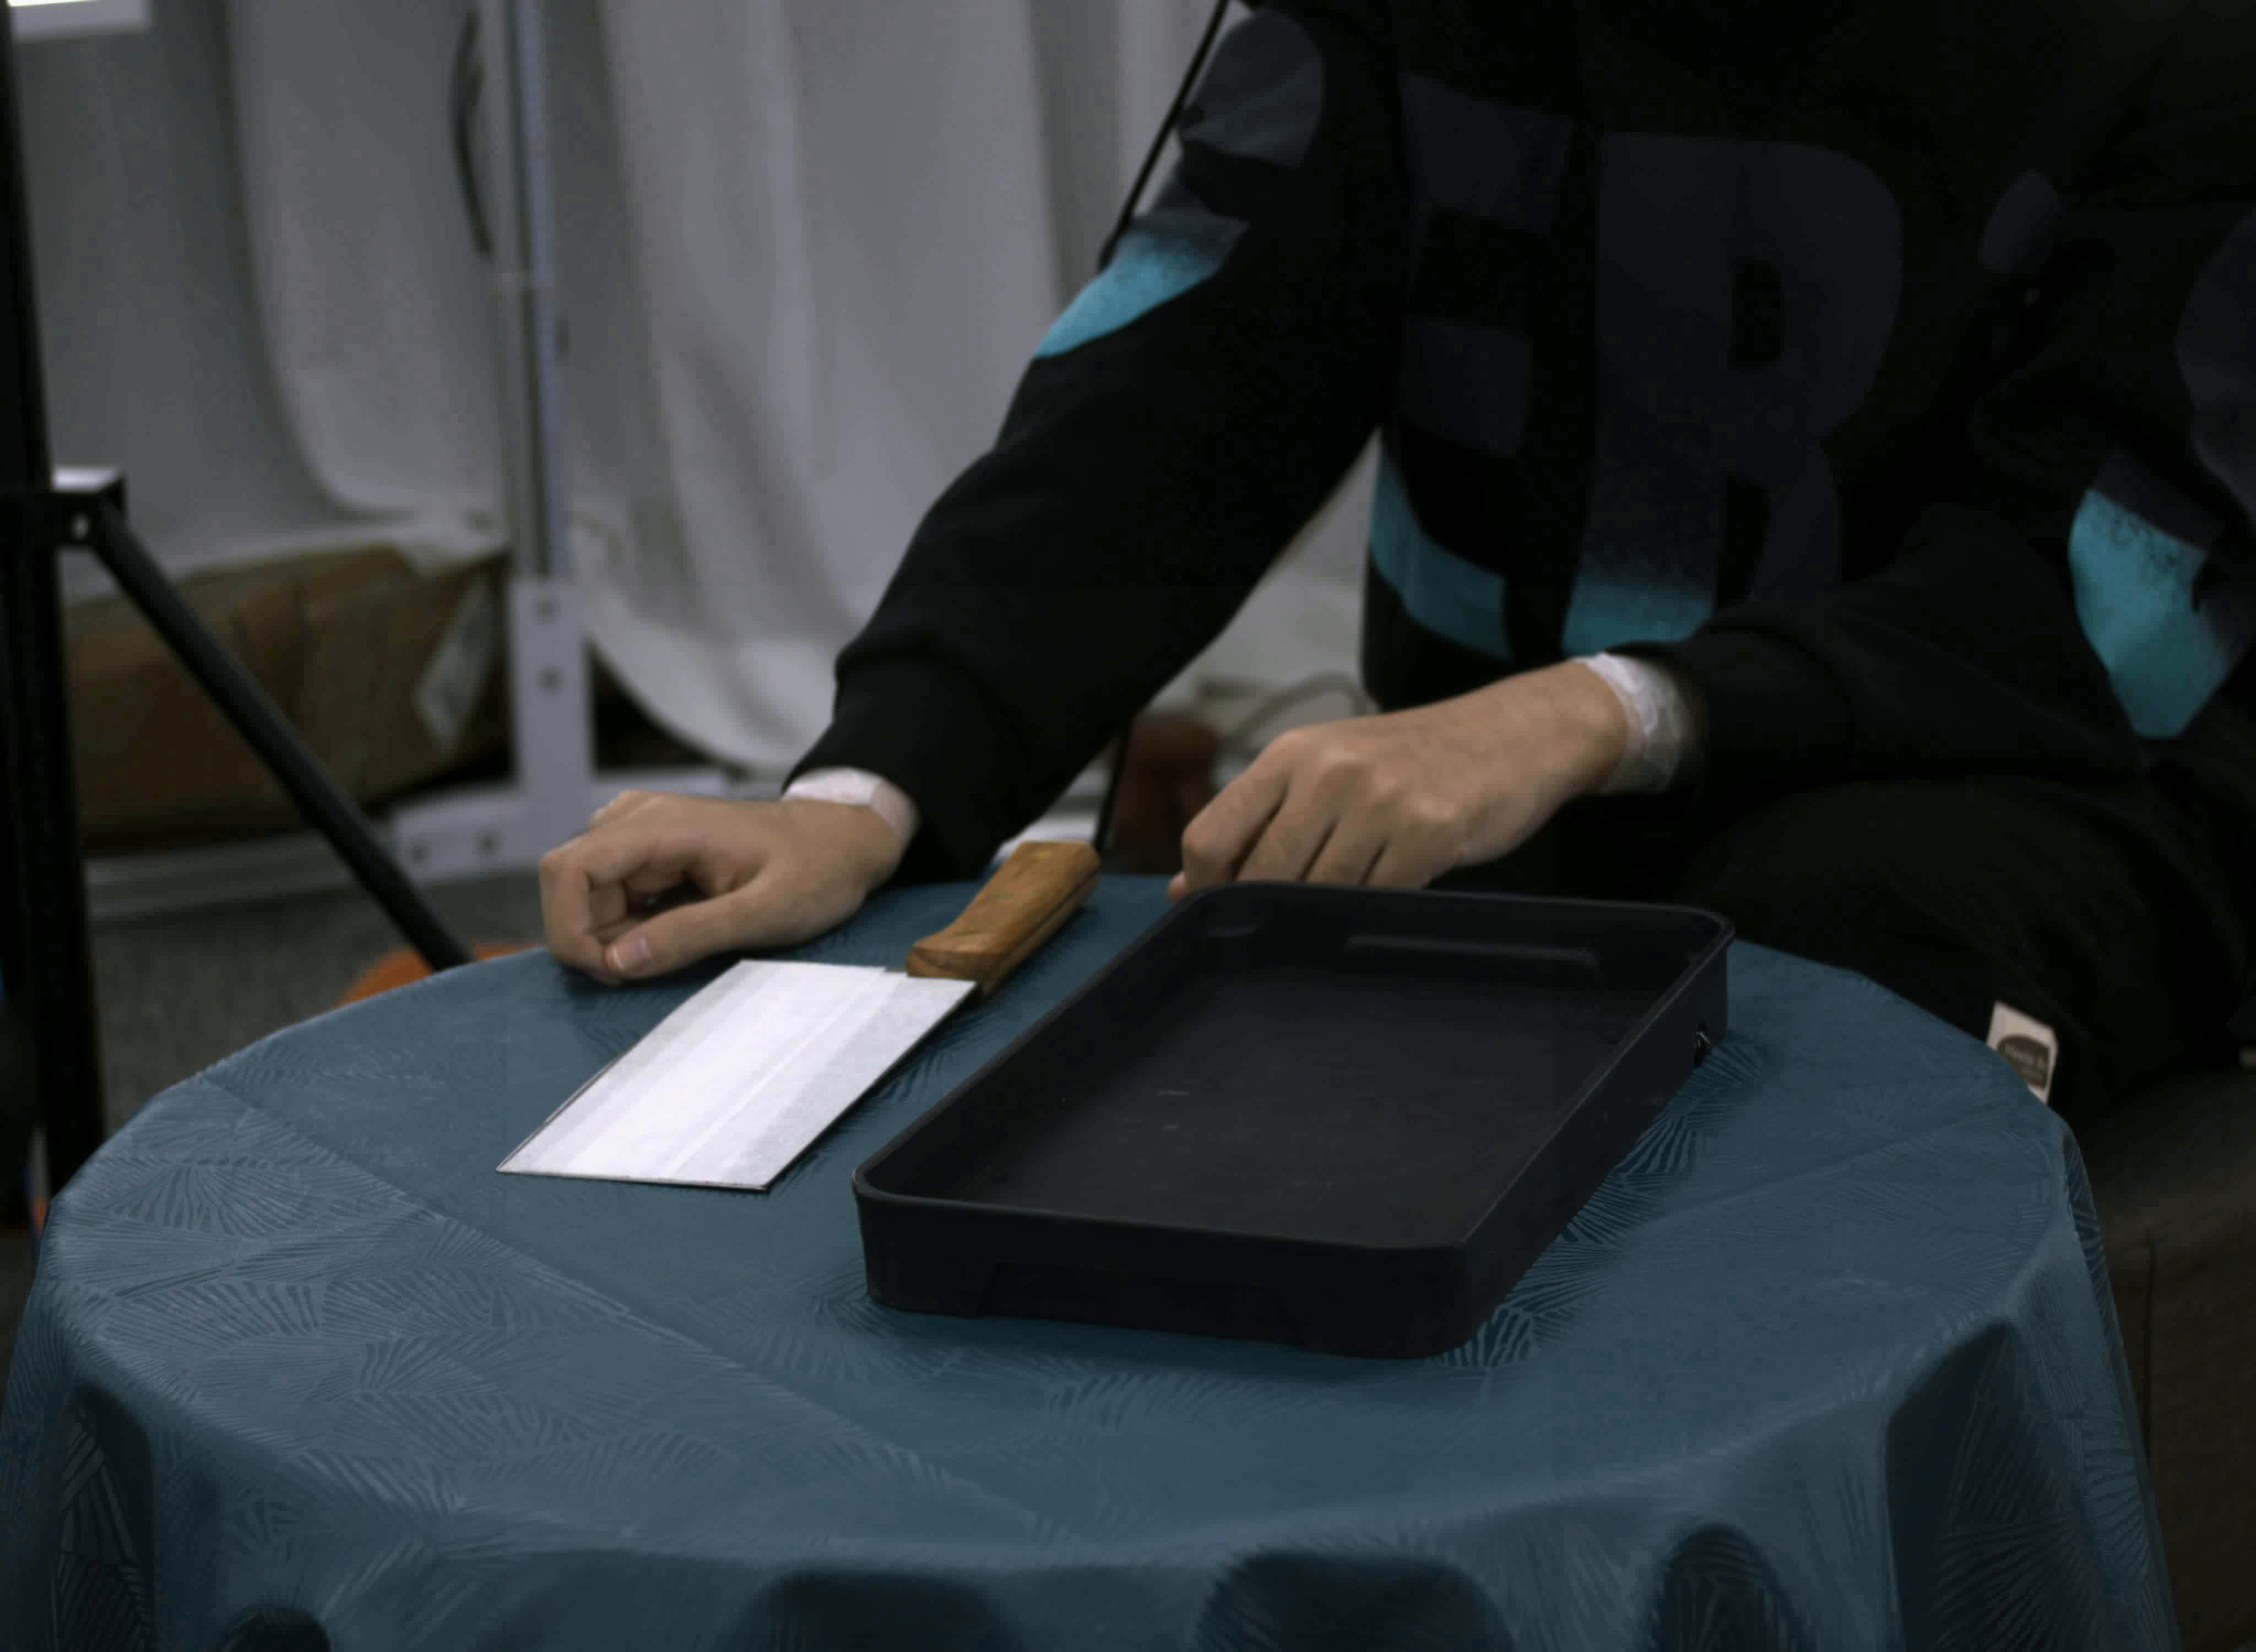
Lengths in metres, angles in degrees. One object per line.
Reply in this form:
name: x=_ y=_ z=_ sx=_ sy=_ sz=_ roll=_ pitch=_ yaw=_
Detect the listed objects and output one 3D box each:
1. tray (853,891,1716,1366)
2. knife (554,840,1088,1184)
tray: x=0.055 y=0.083 z=1.572 sx=0.186 sy=0.037 sz=0.314 roll=3 pitch=16 yaw=19
knife: x=-0.098 y=0.059 z=1.721 sx=0.094 sy=0.021 sz=0.302 roll=1 pitch=18 yaw=20
